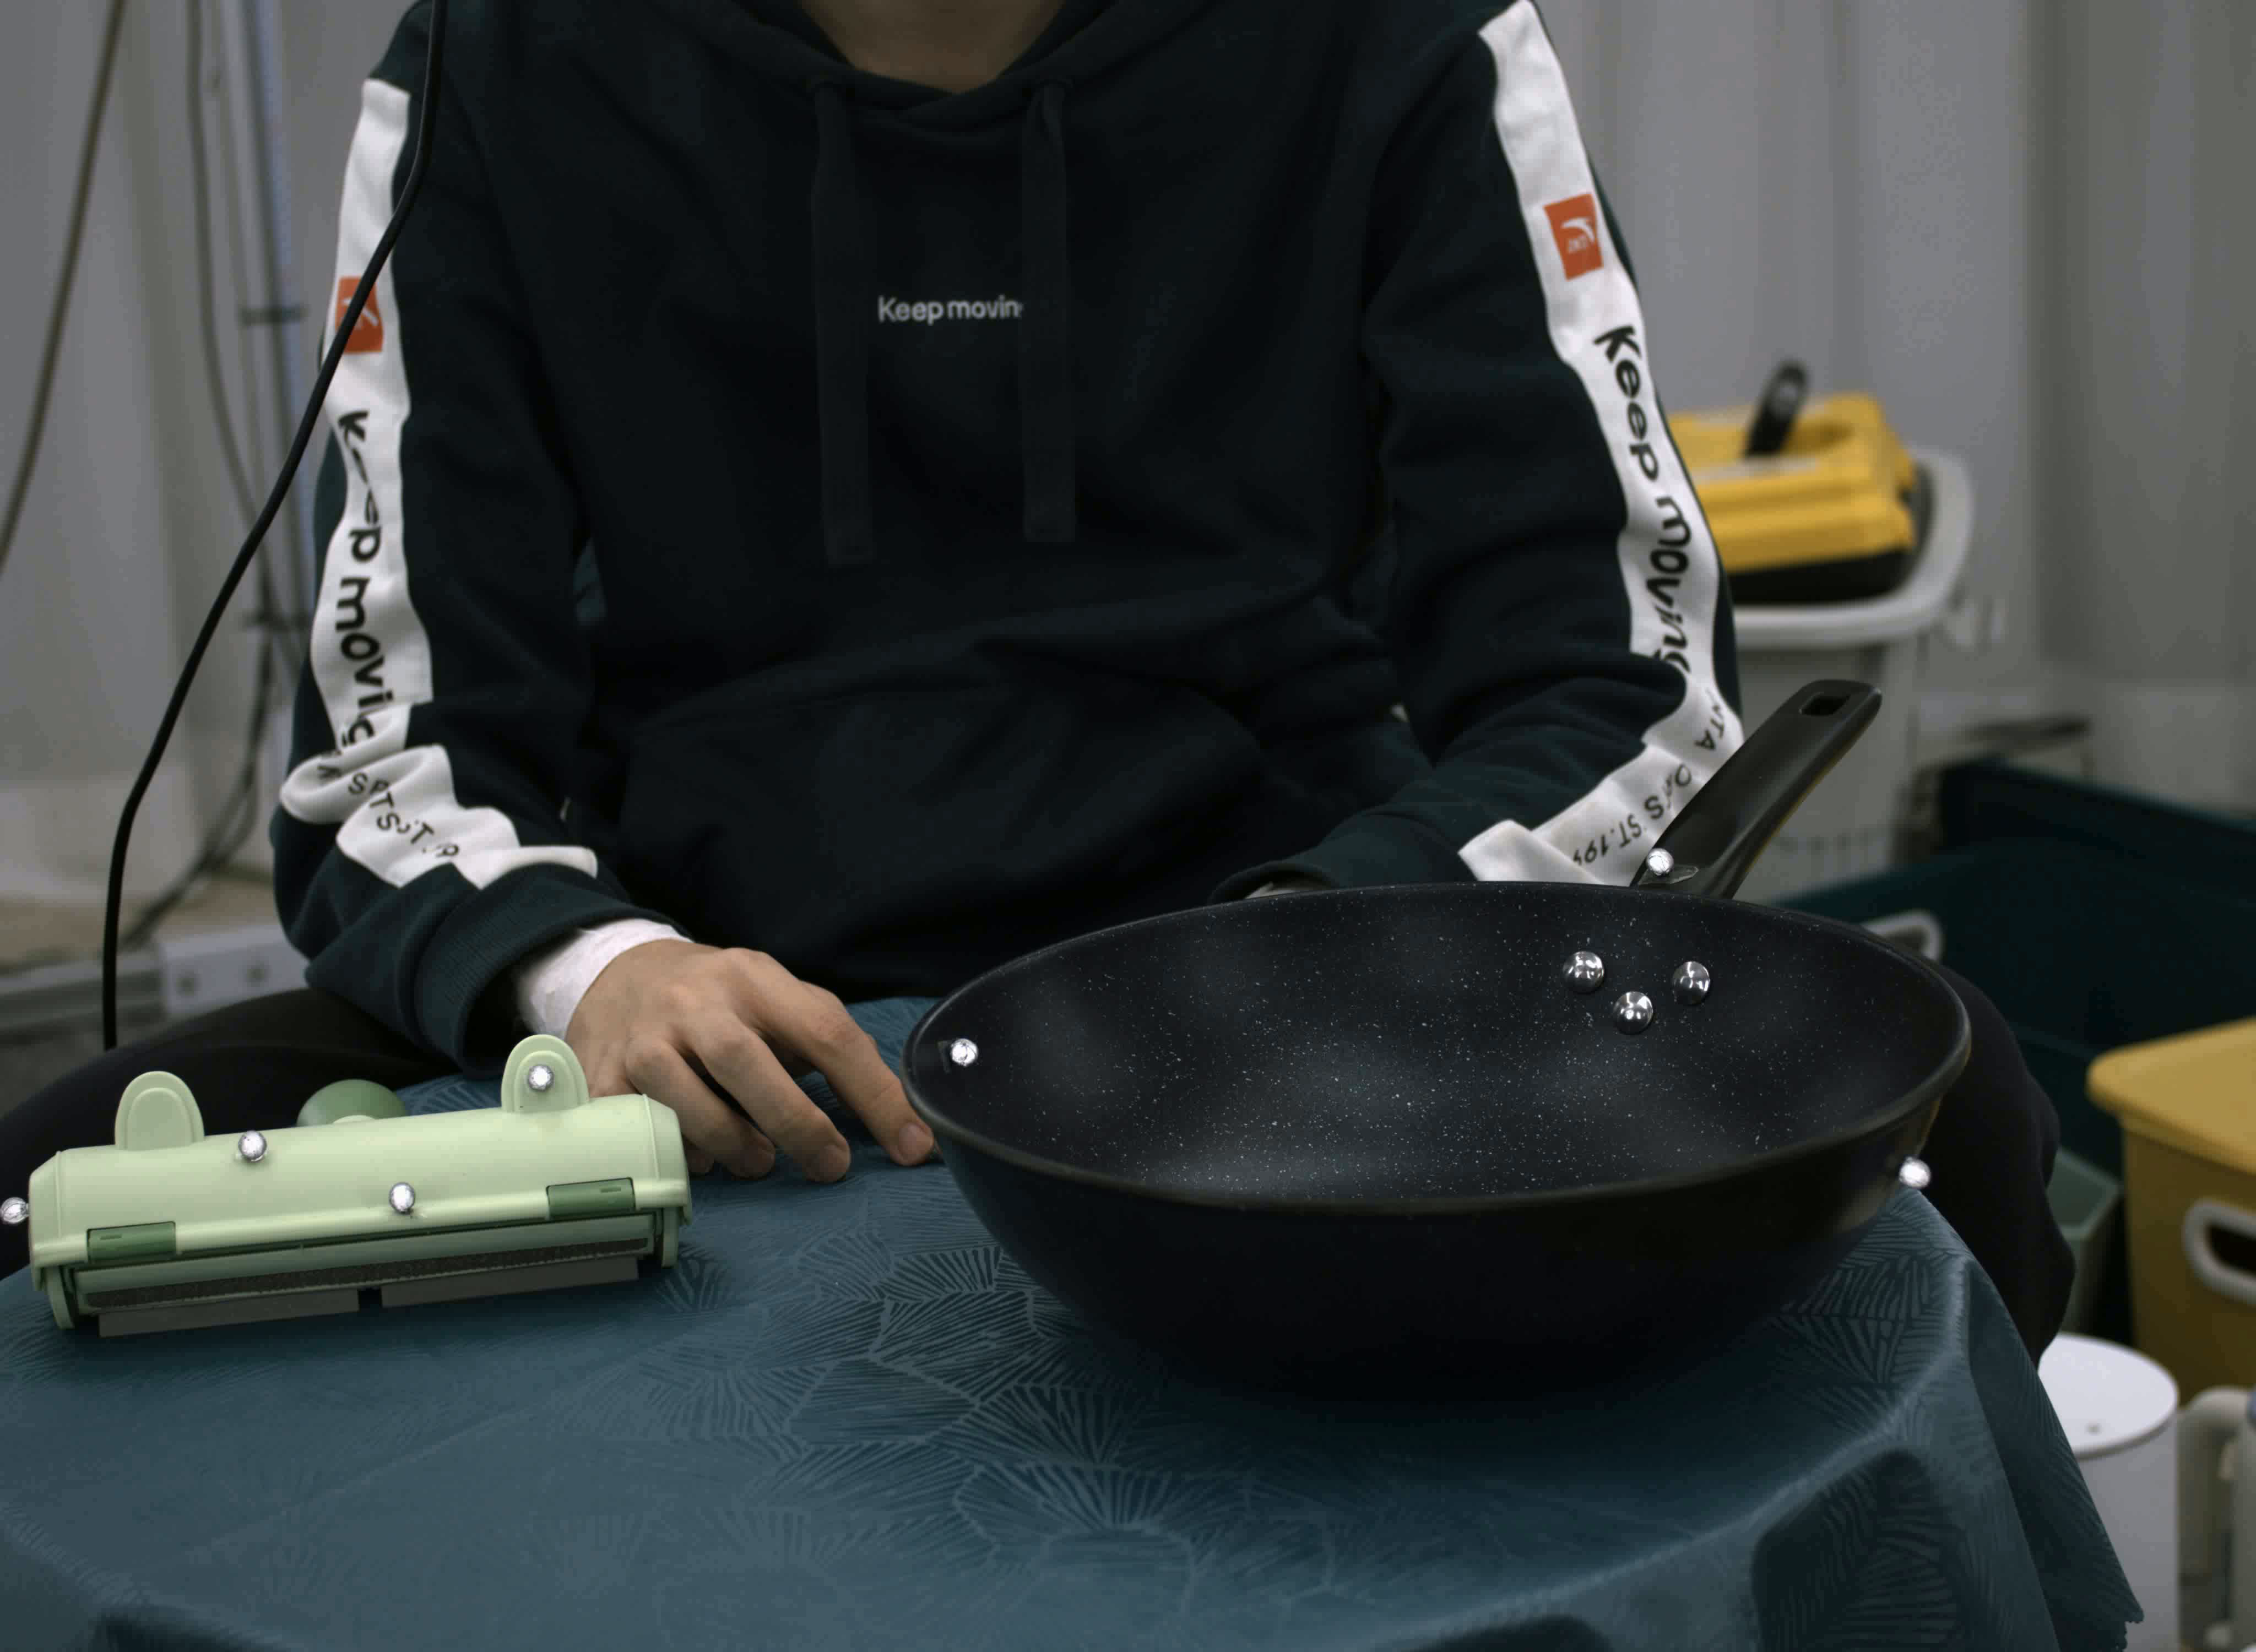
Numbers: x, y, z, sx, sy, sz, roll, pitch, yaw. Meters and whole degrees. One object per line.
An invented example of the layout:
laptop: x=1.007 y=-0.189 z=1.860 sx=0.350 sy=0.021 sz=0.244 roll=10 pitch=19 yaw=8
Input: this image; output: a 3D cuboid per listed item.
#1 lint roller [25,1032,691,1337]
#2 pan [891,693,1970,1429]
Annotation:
lint roller: x=-0.241 y=0.092 z=1.702 sx=0.198 sy=0.081 sz=0.185 roll=-6 pitch=20 yaw=-8
pan: x=0.127 y=0.070 z=1.651 sx=0.311 sy=0.111 sz=0.477 roll=7 pitch=18 yaw=28
